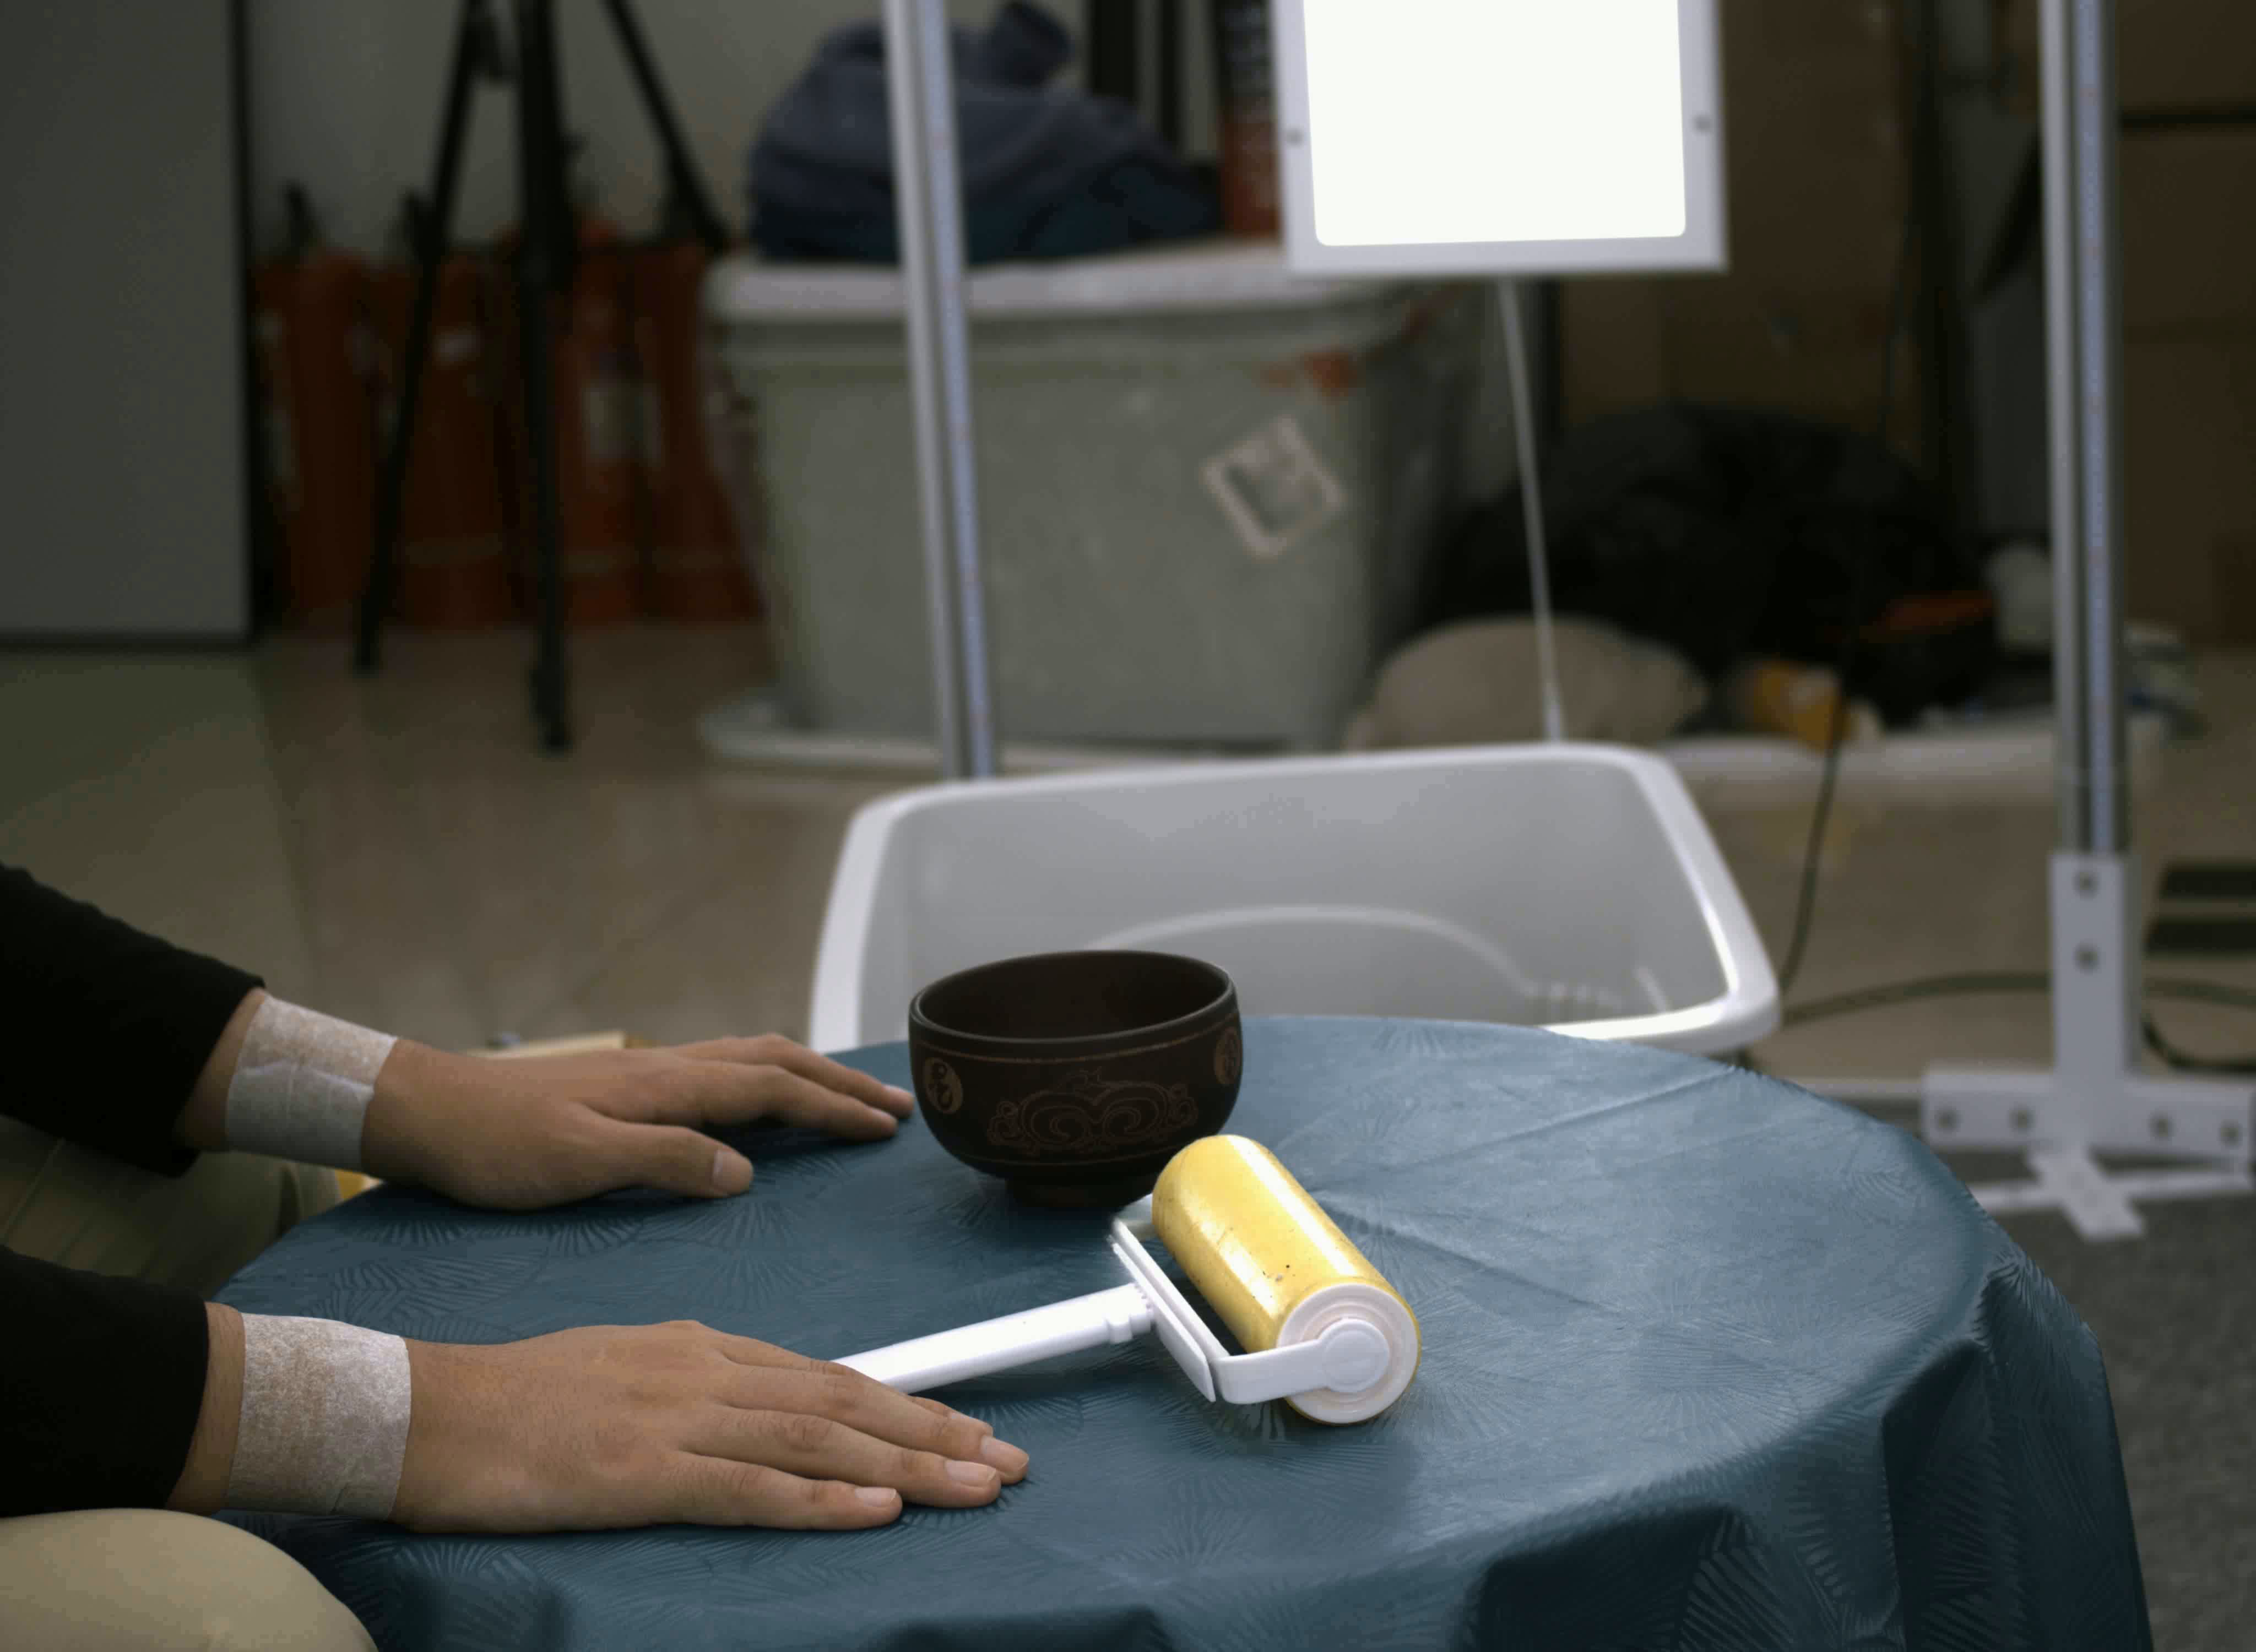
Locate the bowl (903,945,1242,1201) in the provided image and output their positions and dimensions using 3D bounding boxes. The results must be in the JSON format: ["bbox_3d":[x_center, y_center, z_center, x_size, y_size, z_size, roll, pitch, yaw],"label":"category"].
[{"bbox_3d":[-0.018,0.088,1.903,0.117,0.070,0.118,-4,13,0],"label":"bowl"}]

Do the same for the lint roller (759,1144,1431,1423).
[{"bbox_3d":[-0.020,0.148,1.710,0.189,0.051,0.176,-3,12,-13],"label":"lint roller"}]
